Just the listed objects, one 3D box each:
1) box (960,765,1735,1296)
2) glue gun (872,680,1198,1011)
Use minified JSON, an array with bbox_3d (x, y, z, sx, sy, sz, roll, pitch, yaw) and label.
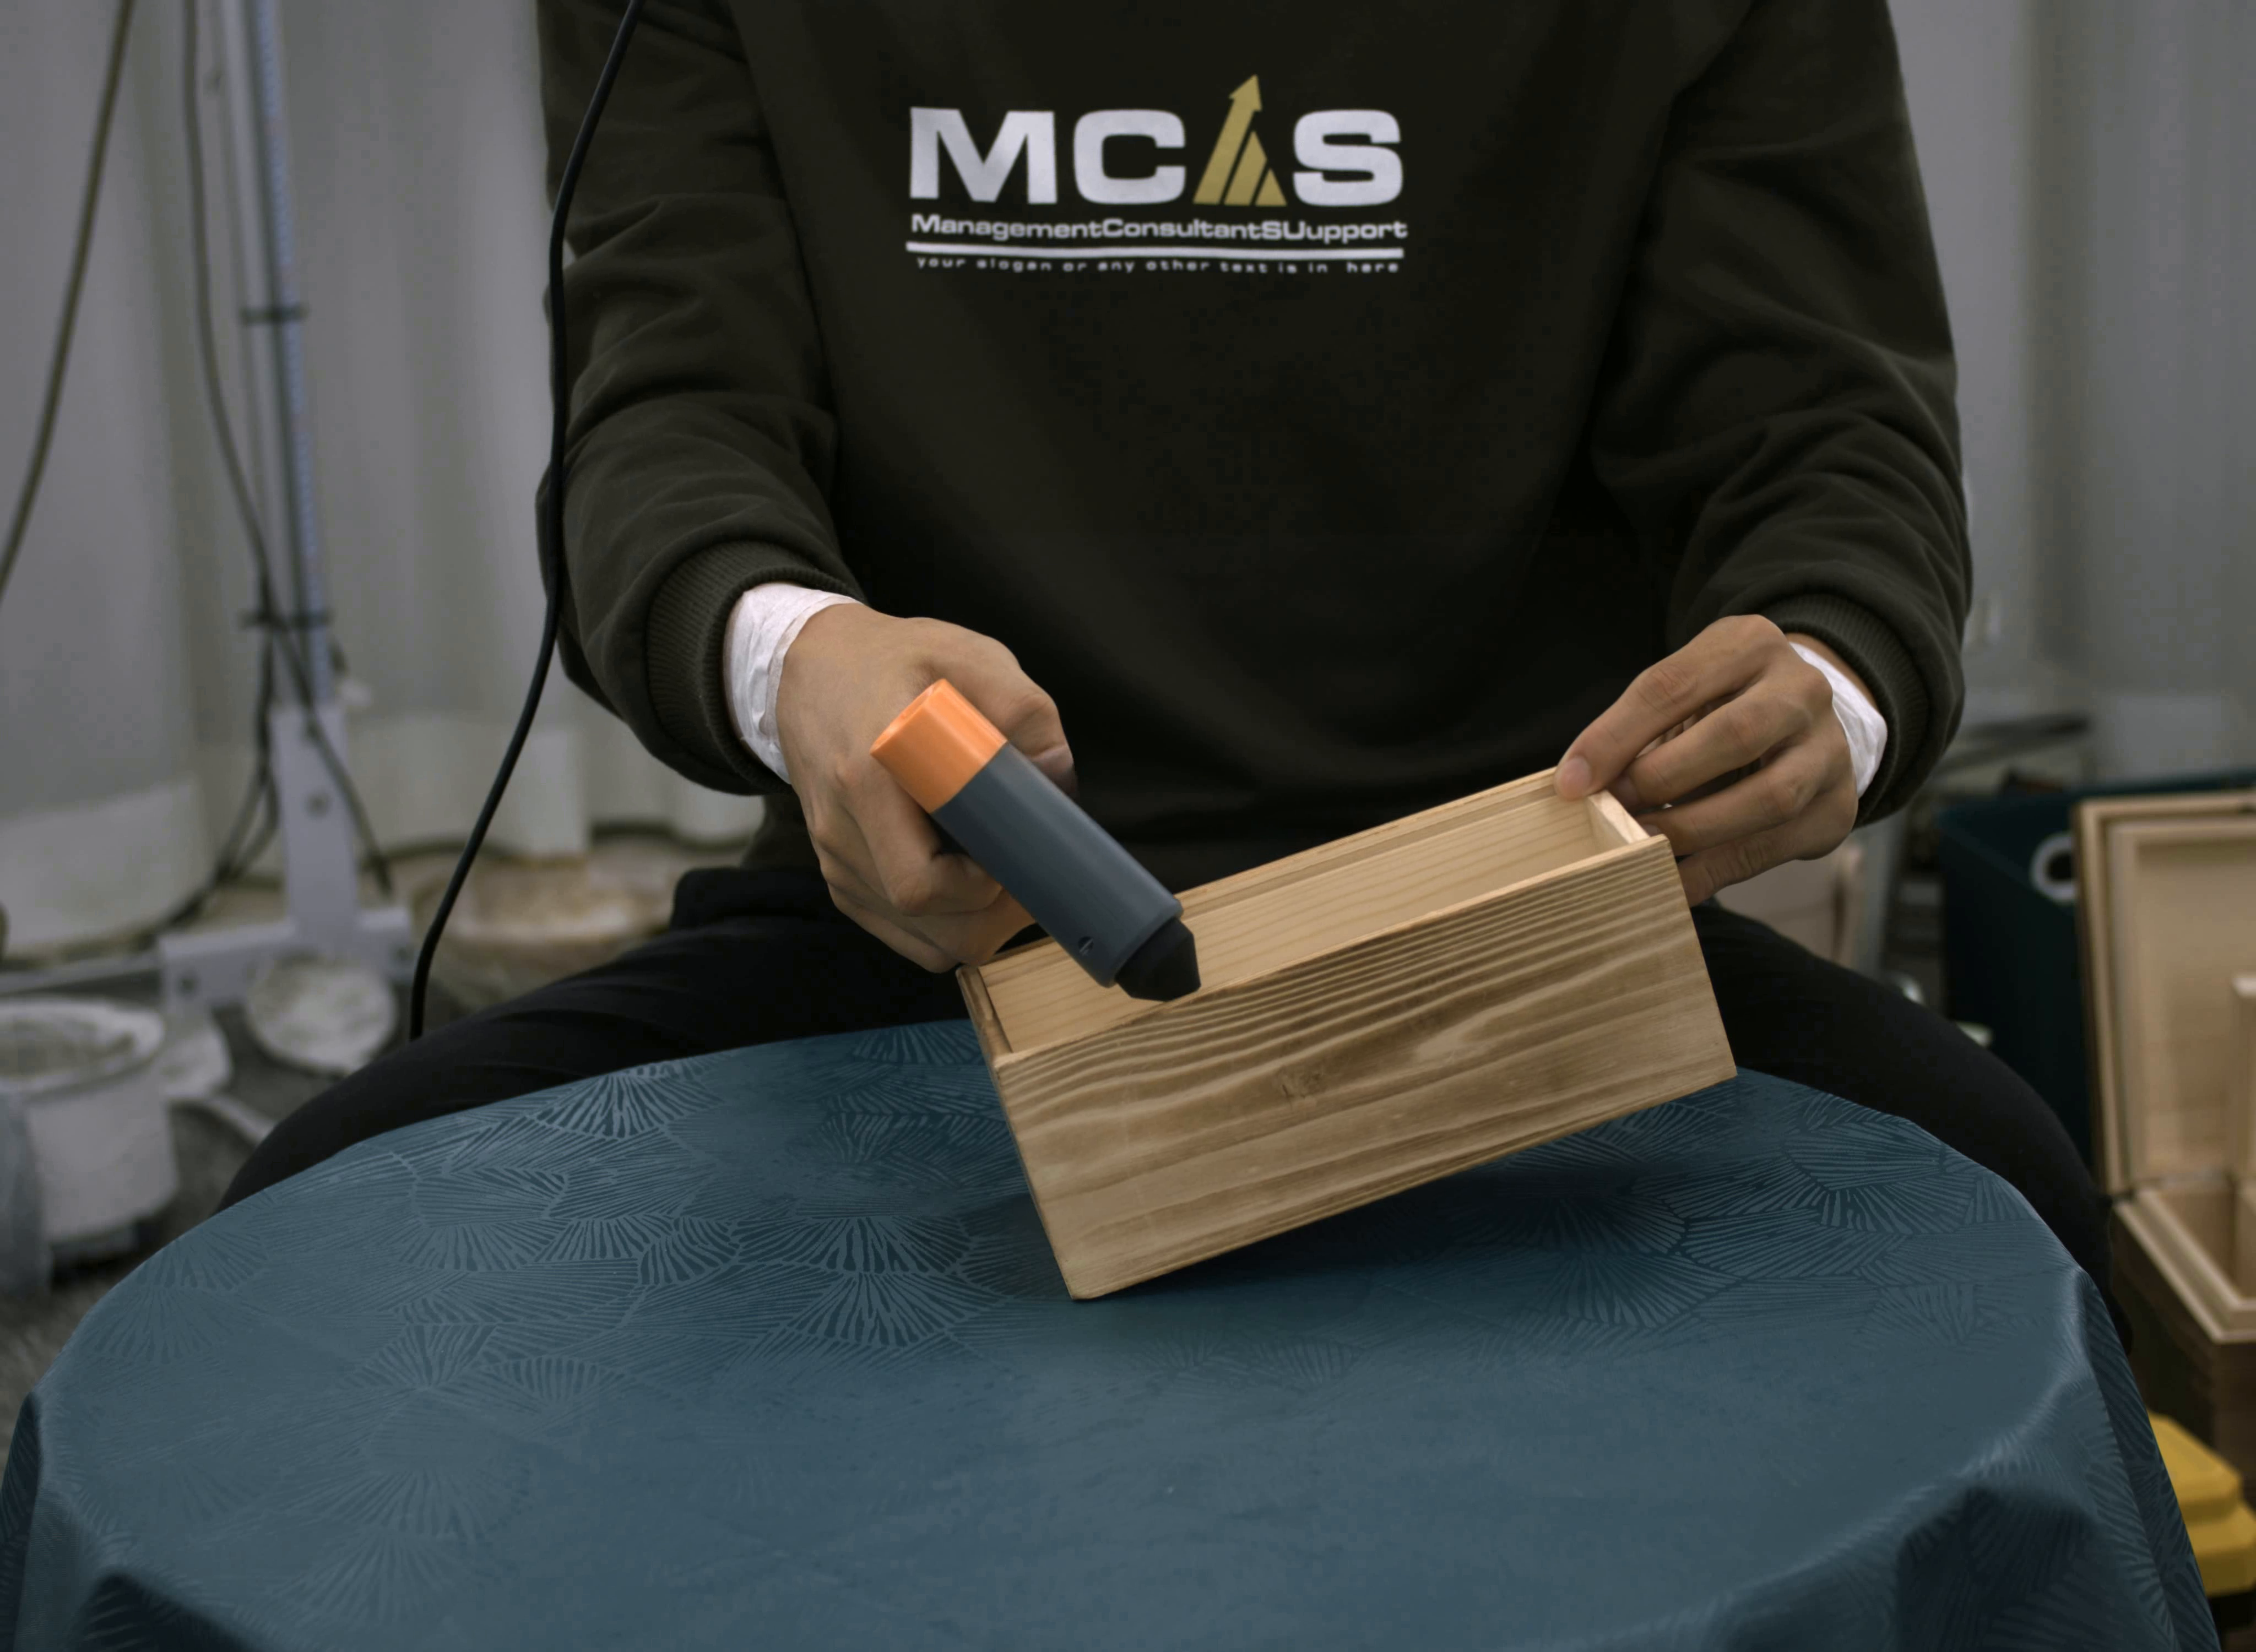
[{"bbox_3d":[0.064,0.060,1.665,0.211,0.080,0.108,-18,15,-3],"label":"box"},{"bbox_3d":[-0.029,0.007,1.667,0.041,0.117,0.140,-44,8,-3],"label":"glue gun"}]
